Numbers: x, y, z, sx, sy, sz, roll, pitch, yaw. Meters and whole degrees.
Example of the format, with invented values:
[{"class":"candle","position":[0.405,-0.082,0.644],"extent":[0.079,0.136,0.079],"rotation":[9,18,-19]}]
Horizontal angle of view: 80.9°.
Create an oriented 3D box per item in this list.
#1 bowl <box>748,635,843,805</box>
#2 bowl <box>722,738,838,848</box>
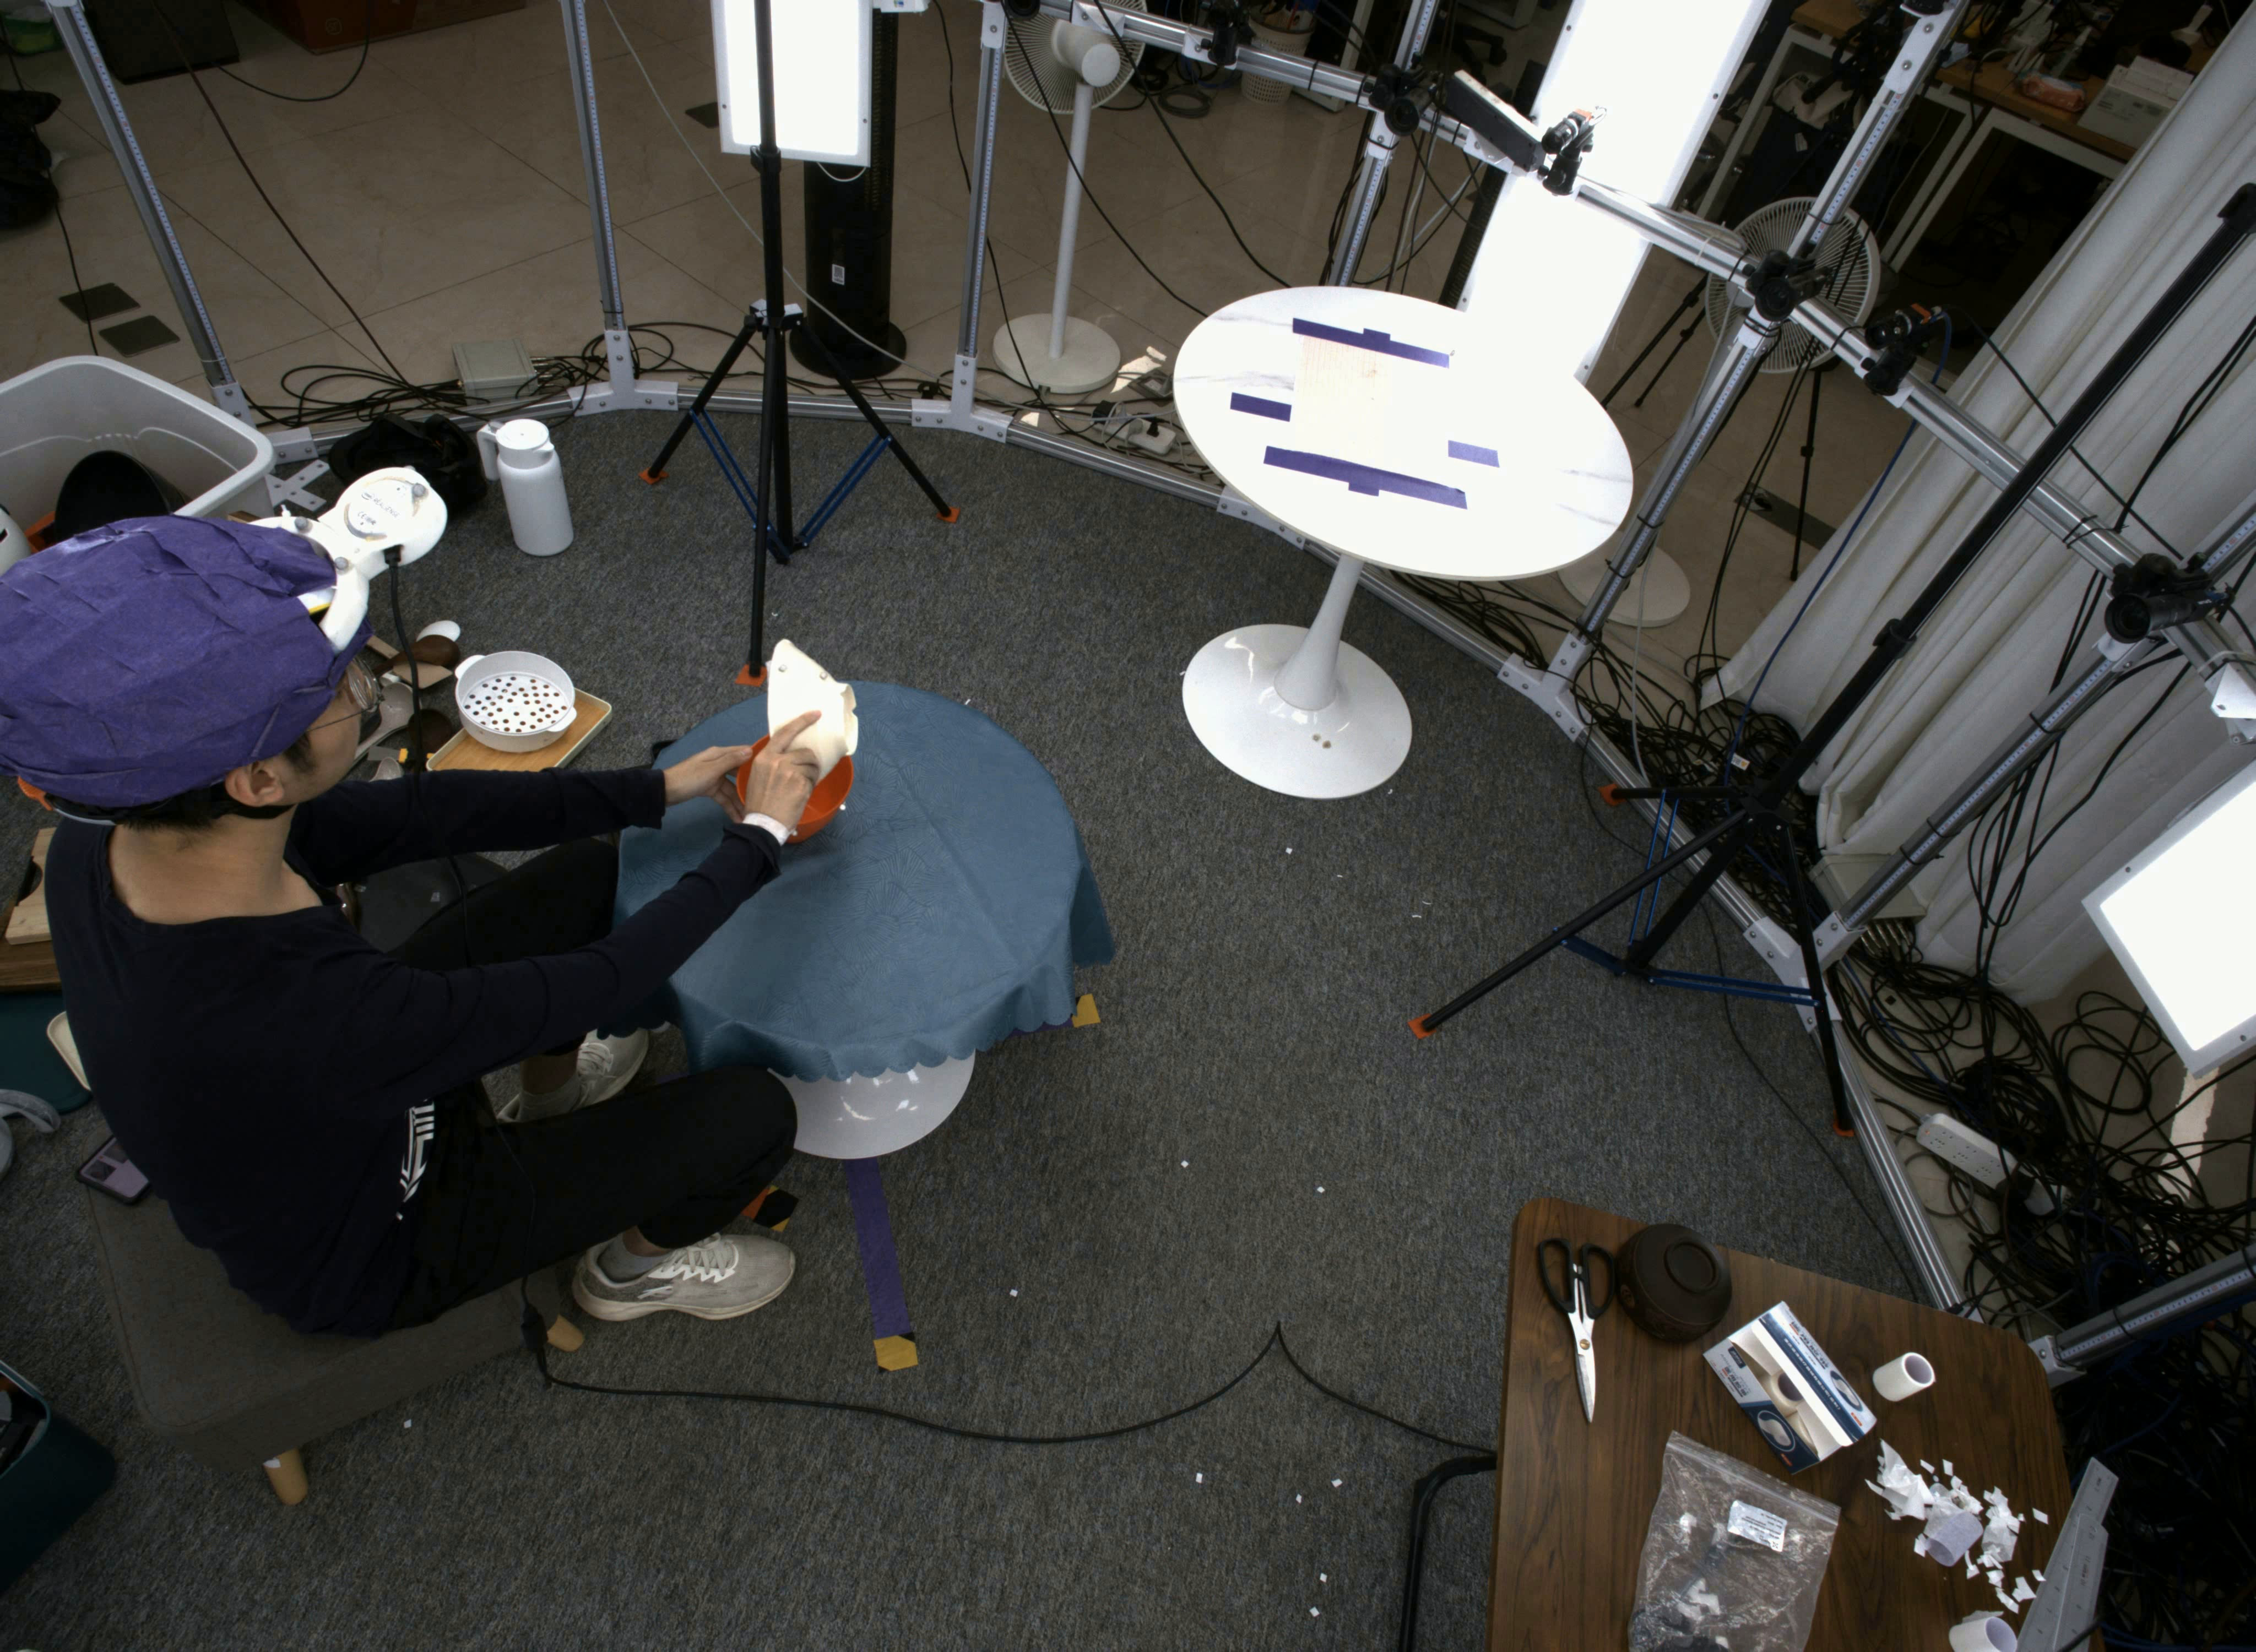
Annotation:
[{"class":"bowl","position":[-0.399,-0.132,1.591],"extent":[0.077,0.210,0.200],"rotation":[-4,53,0]},{"class":"bowl","position":[-0.452,-0.038,1.692],"extent":[0.147,0.107,0.145],"rotation":[6,54,-7]}]
